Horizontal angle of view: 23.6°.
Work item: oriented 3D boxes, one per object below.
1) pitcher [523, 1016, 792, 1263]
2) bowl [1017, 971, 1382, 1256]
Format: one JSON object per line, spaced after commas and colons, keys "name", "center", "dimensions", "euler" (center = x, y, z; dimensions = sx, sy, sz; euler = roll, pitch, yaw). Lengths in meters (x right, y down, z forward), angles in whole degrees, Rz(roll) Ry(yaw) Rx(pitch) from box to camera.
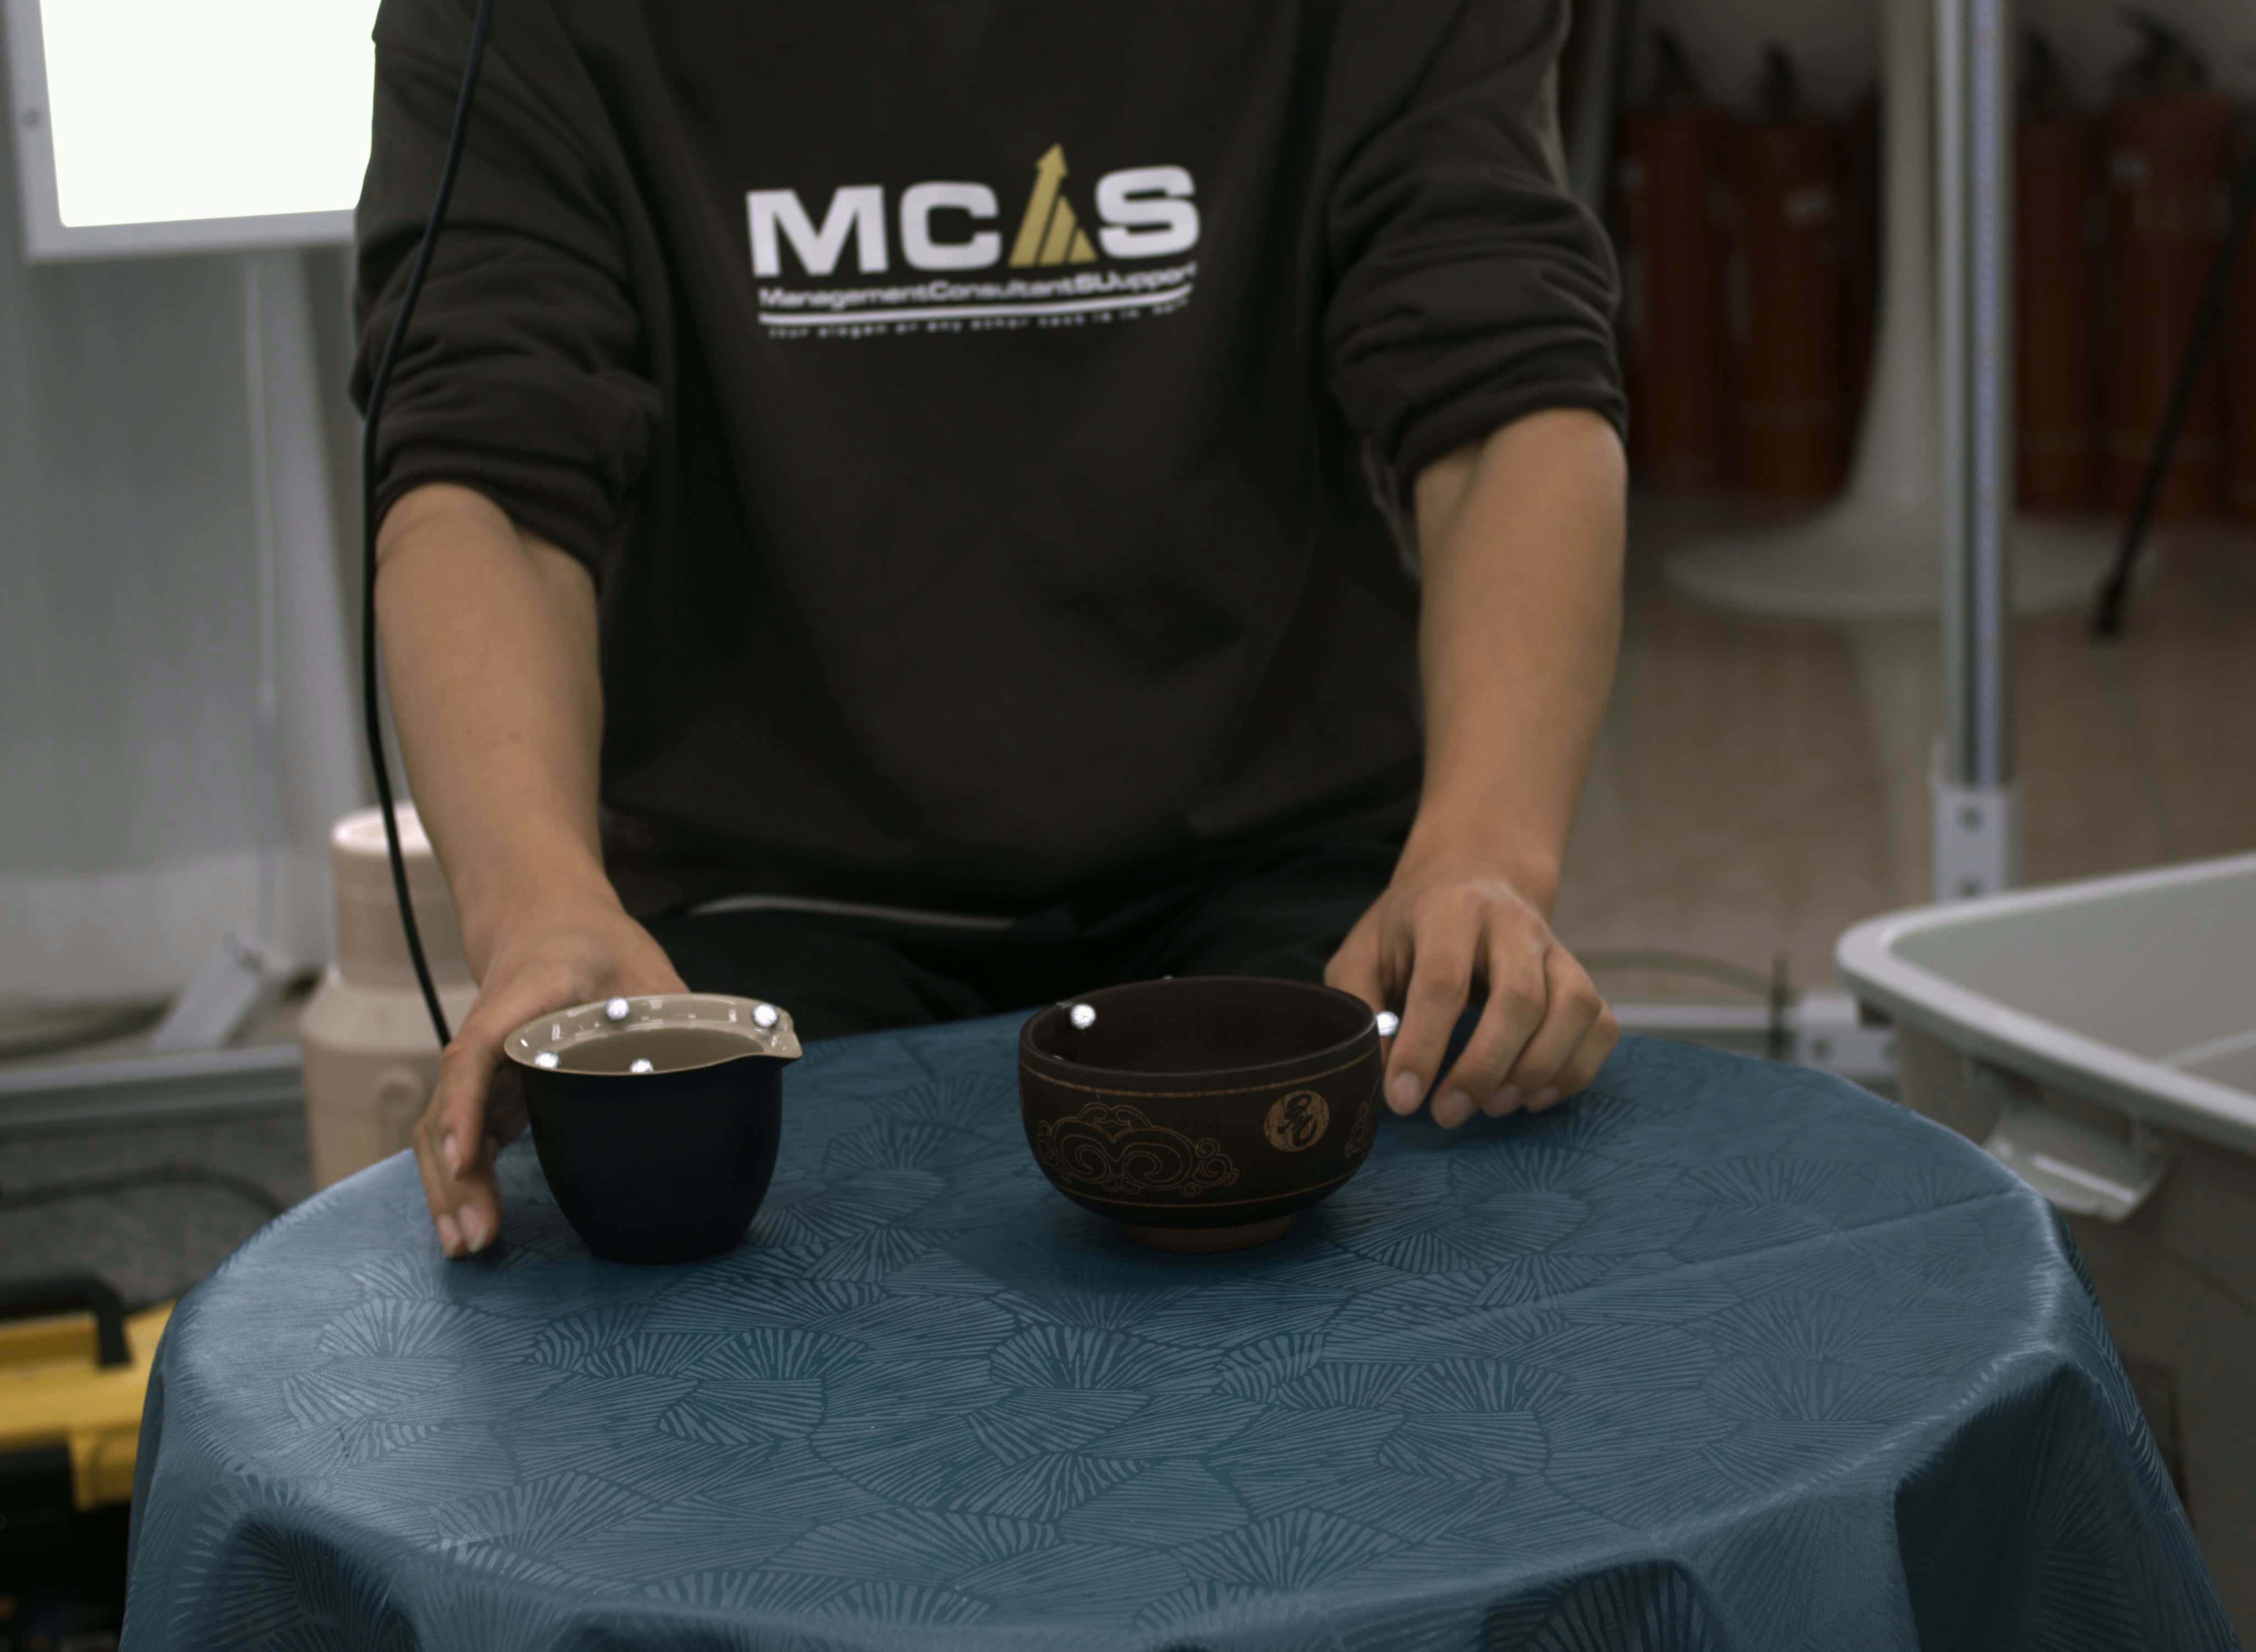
{"name": "pitcher", "center": [-0.147, 0.100, 1.745], "dimensions": [0.096, 0.072, 0.082], "euler": [4, 13, 33]}
{"name": "bowl", "center": [0.024, 0.096, 1.726], "dimensions": [0.116, 0.070, 0.118], "euler": [-4, 15, 0]}
